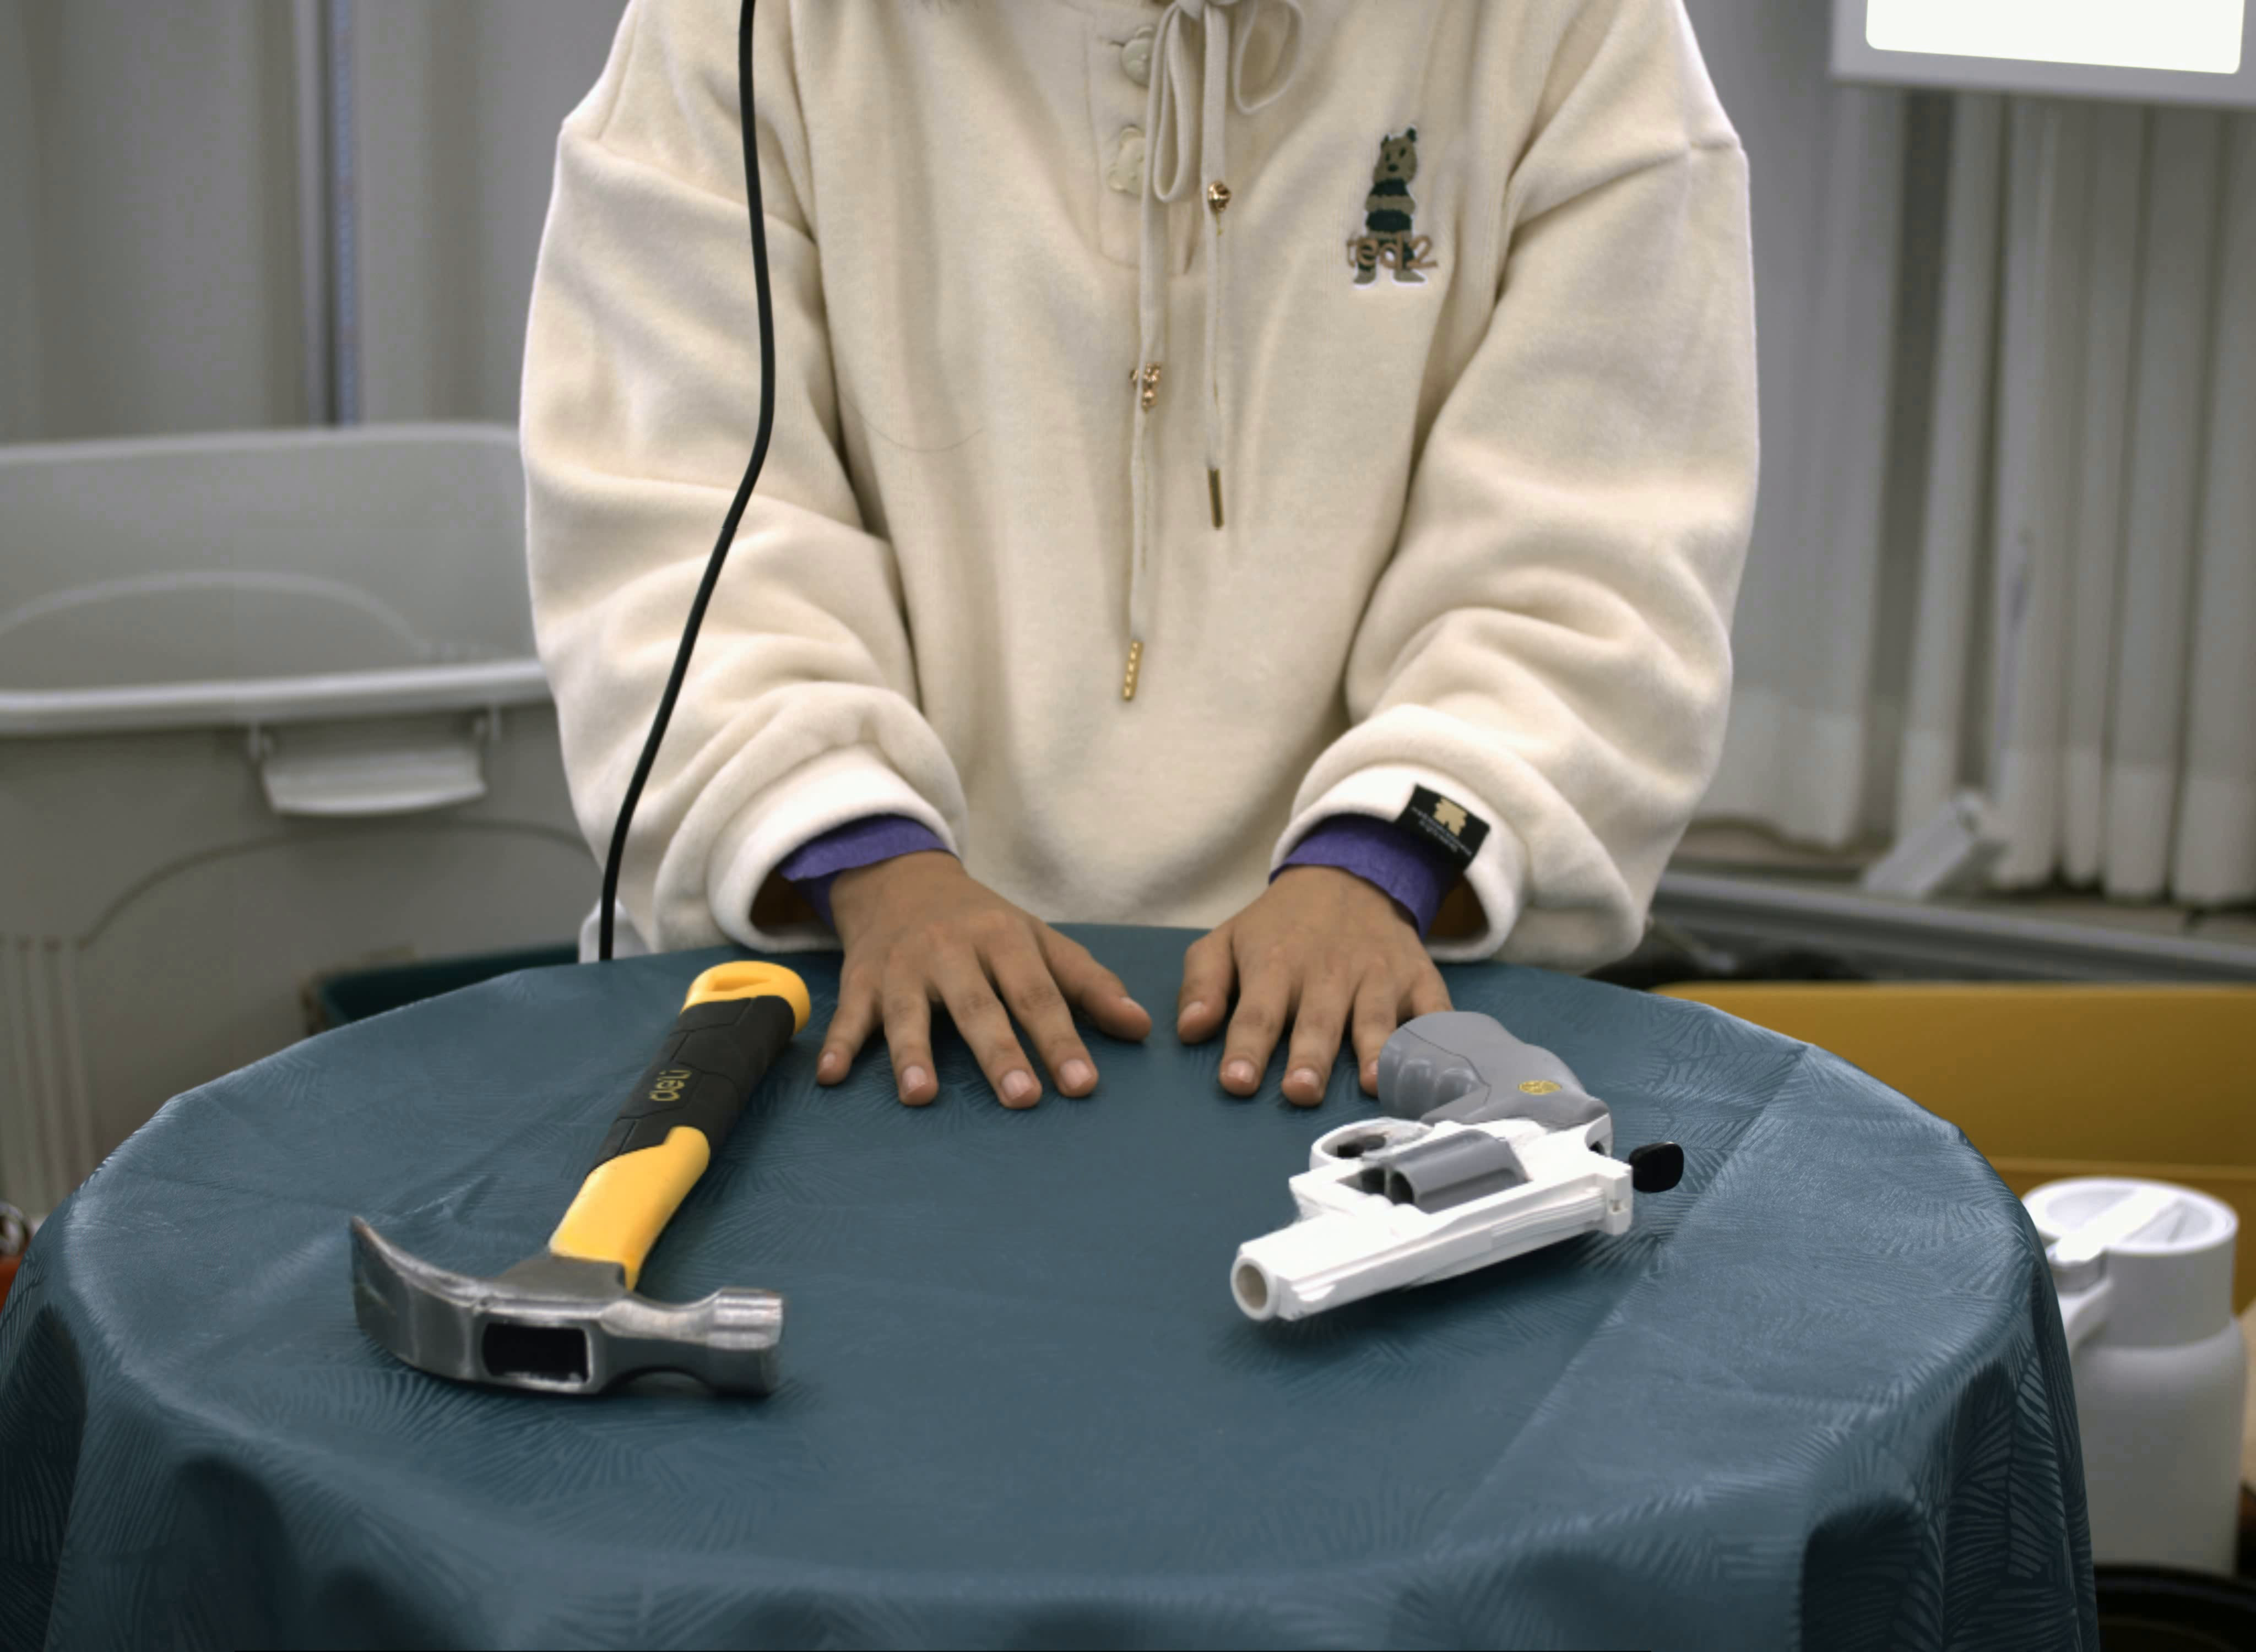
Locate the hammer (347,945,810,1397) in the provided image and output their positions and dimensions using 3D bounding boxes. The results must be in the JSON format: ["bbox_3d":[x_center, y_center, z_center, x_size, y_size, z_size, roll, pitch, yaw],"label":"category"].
[{"bbox_3d":[-0.144,0.097,1.603,0.131,0.032,0.337,0,16,7],"label":"hammer"}]

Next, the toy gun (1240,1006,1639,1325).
[{"bbox_3d":[0.082,0.102,1.588,0.210,0.039,0.140,-14,22,-41],"label":"toy gun"}]
